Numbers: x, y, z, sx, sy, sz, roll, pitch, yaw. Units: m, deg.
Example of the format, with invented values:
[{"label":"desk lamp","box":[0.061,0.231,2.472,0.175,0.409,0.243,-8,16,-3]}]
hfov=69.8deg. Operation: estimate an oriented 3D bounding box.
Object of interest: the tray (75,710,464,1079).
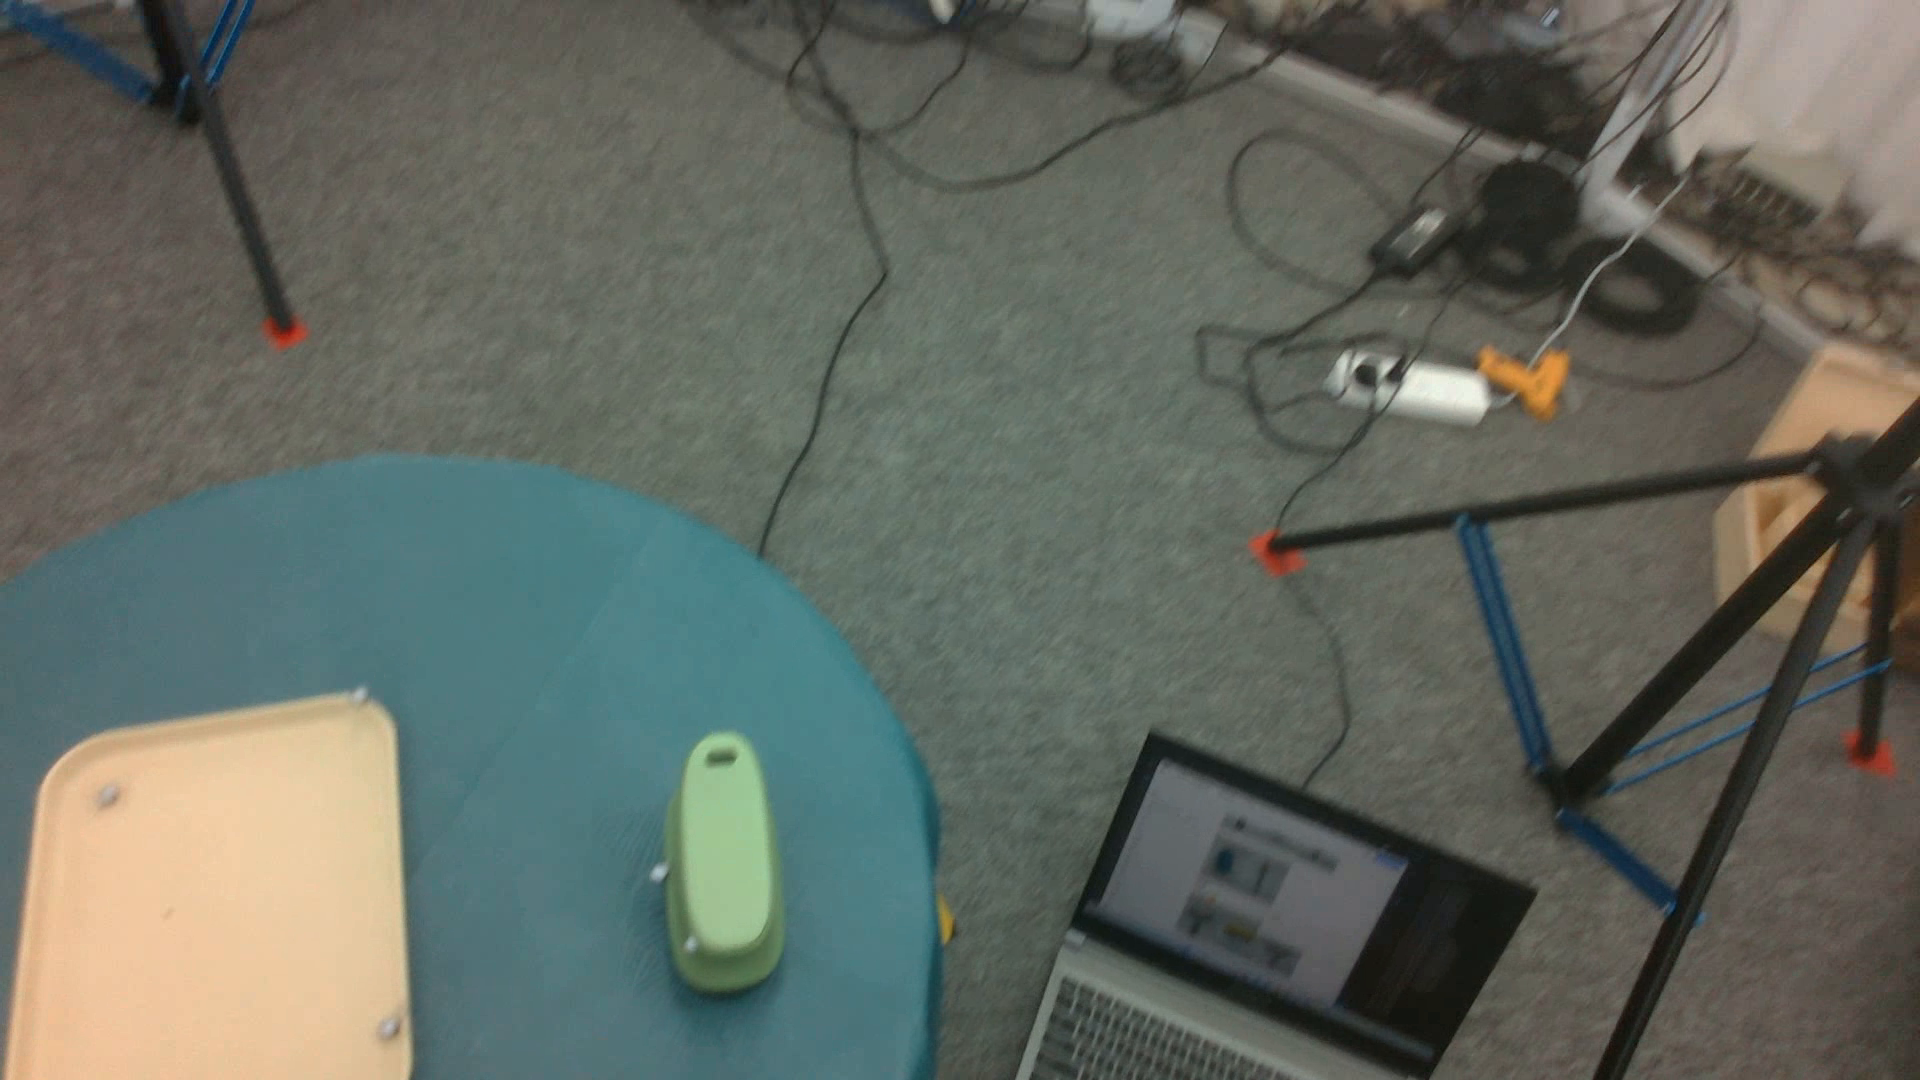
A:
[{"label":"tray","box":[-0.350,0.201,0.701,0.171,0.017,0.240,-10,53,-17]}]

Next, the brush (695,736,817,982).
[{"label":"brush","box":[-0.111,0.174,0.741,0.060,0.075,0.123,-7,65,-14]}]
